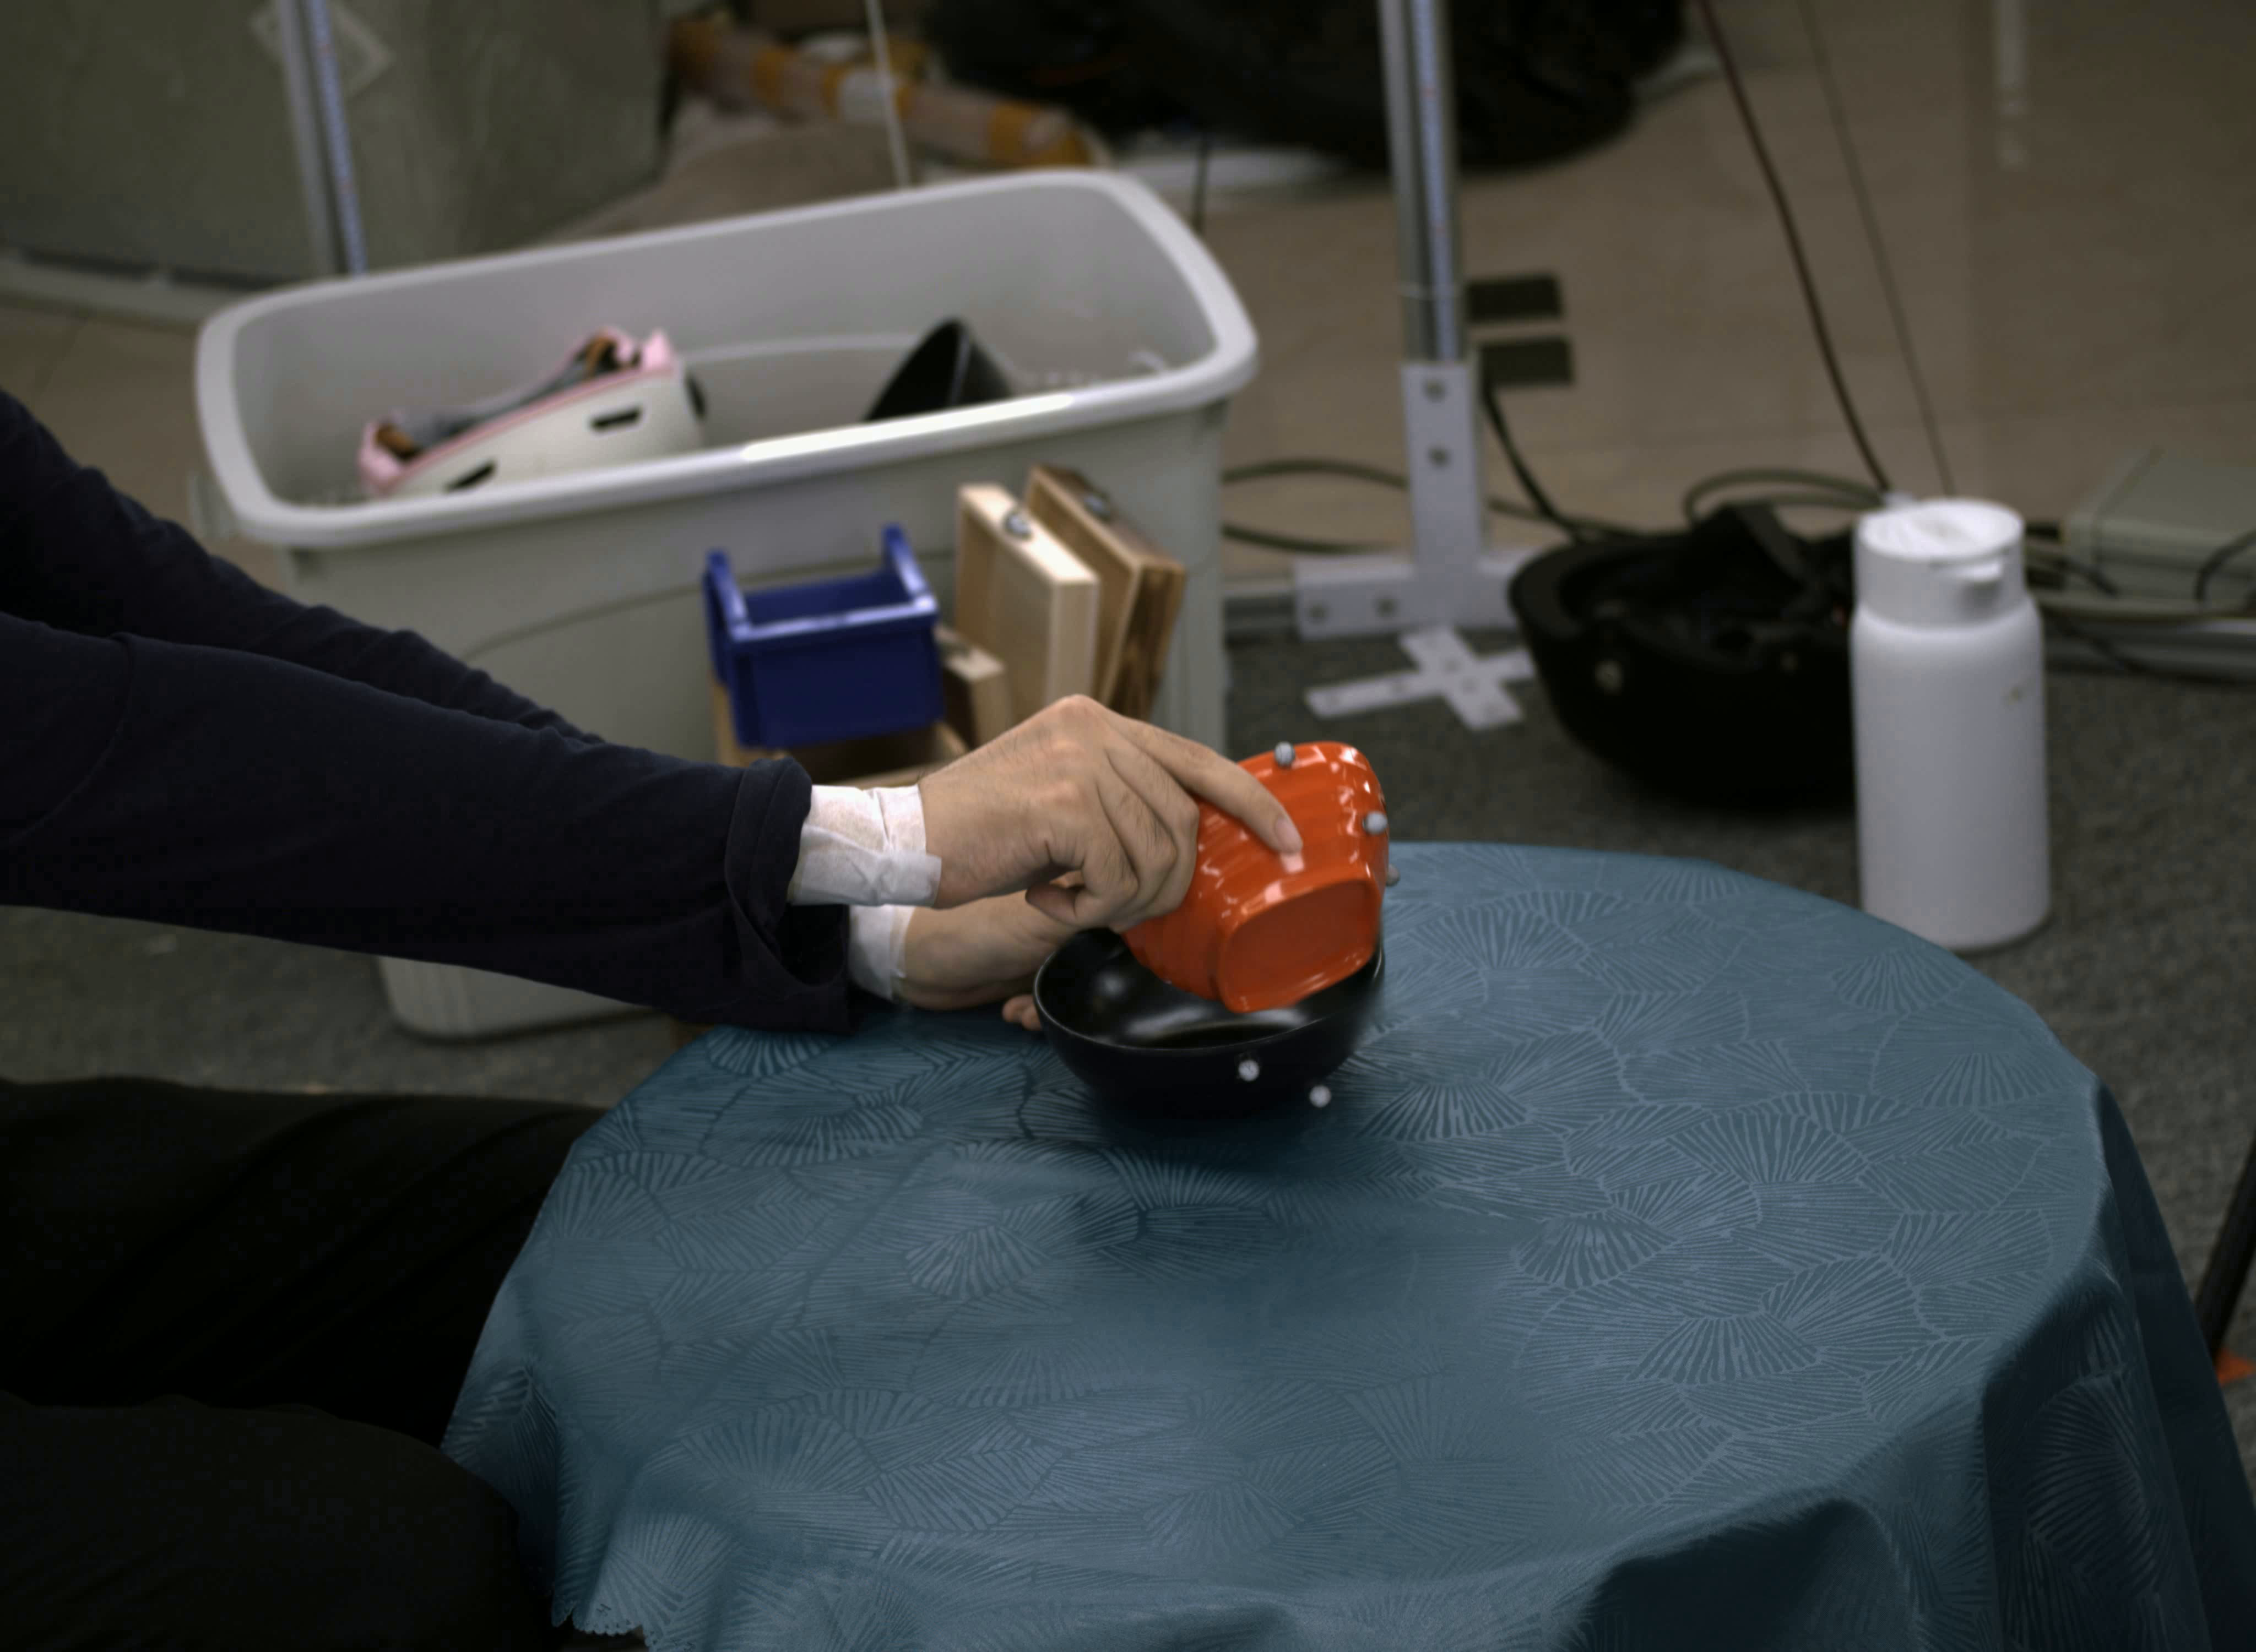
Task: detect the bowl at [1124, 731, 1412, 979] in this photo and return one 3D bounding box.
[{"bbox_3d":[0.058,0.017,2.112,0.118,0.121,0.050,-11,63,-11],"label":"bowl"}]

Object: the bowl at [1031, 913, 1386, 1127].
[{"bbox_3d":[0.034,0.080,2.217,0.140,0.050,0.138,-9,23,4],"label":"bowl"}]
